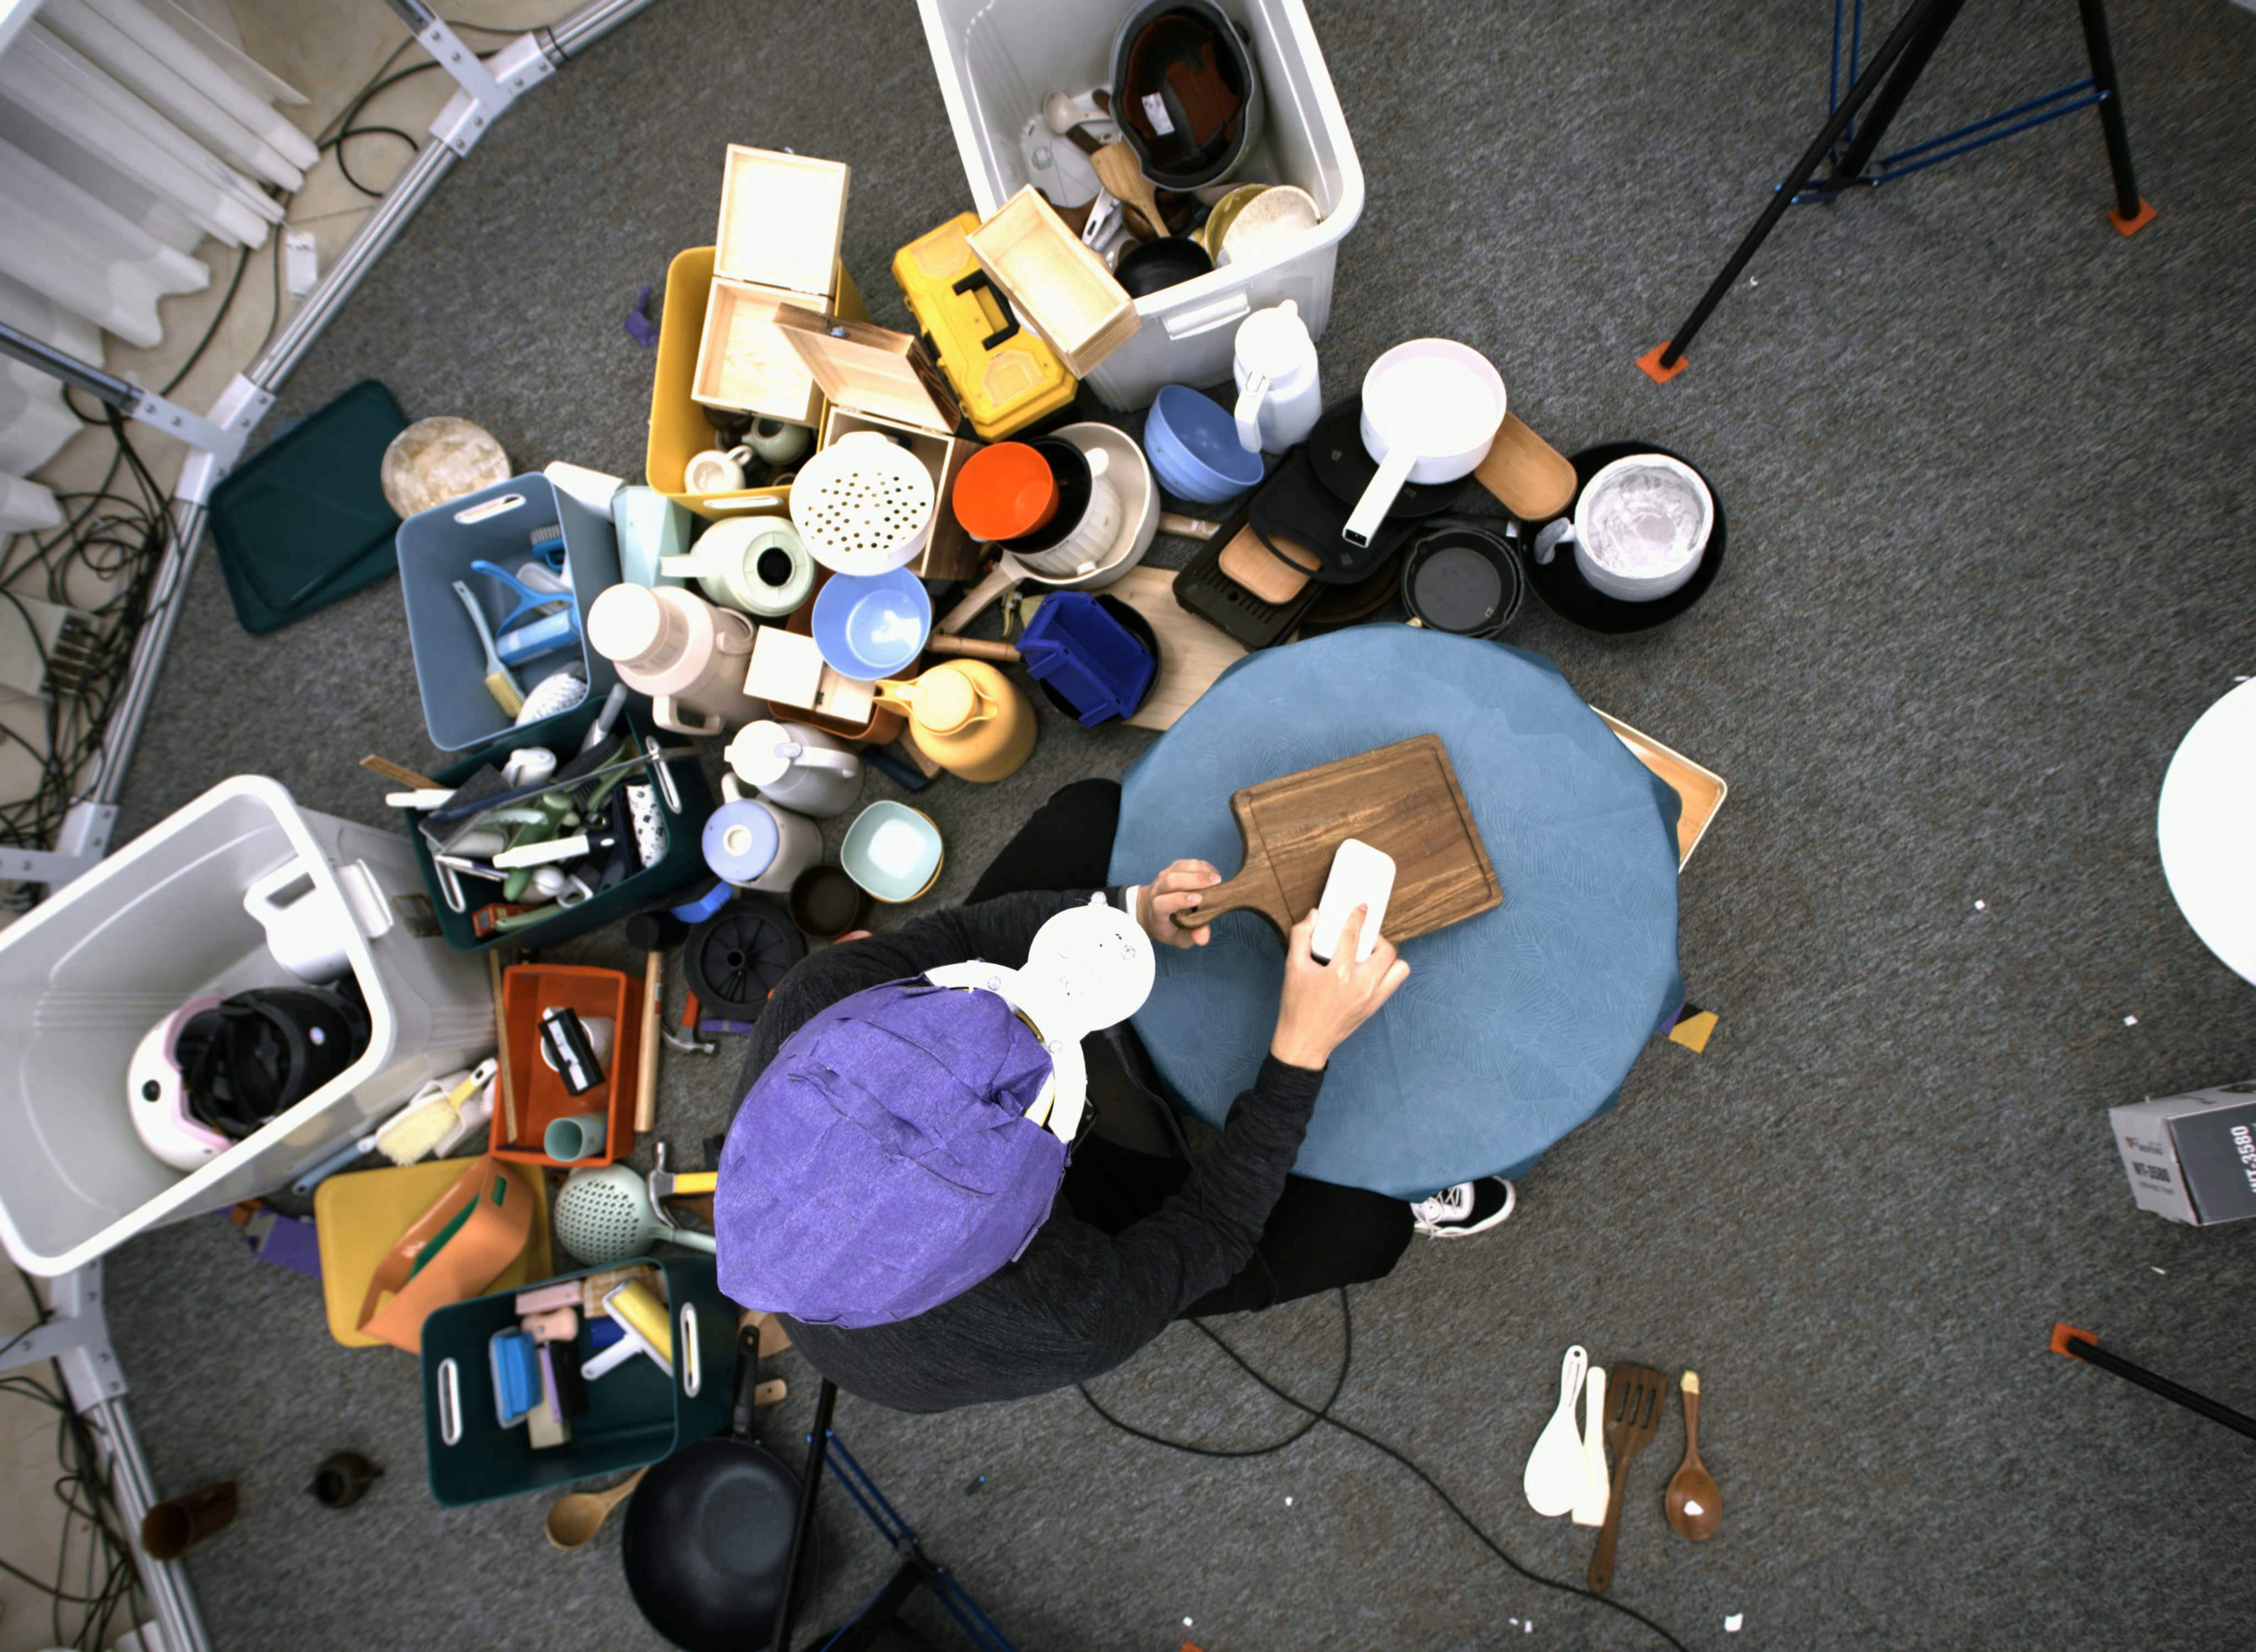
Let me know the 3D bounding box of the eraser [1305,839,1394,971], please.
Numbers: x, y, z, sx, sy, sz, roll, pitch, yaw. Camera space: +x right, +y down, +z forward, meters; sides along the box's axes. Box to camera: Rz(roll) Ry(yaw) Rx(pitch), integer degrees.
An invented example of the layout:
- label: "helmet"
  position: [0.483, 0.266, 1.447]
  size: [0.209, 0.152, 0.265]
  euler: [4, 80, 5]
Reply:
- label: "eraser"
  position: [0.216, 0.075, 1.355]
  size: [0.063, 0.035, 0.128]
  euler: [26, 65, -7]

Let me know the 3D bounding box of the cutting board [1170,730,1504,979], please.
- label: "cutting board"
  position: [0.200, 0.037, 1.387]
  size: [0.349, 0.023, 0.200]
  euler: [-18, 83, -18]
